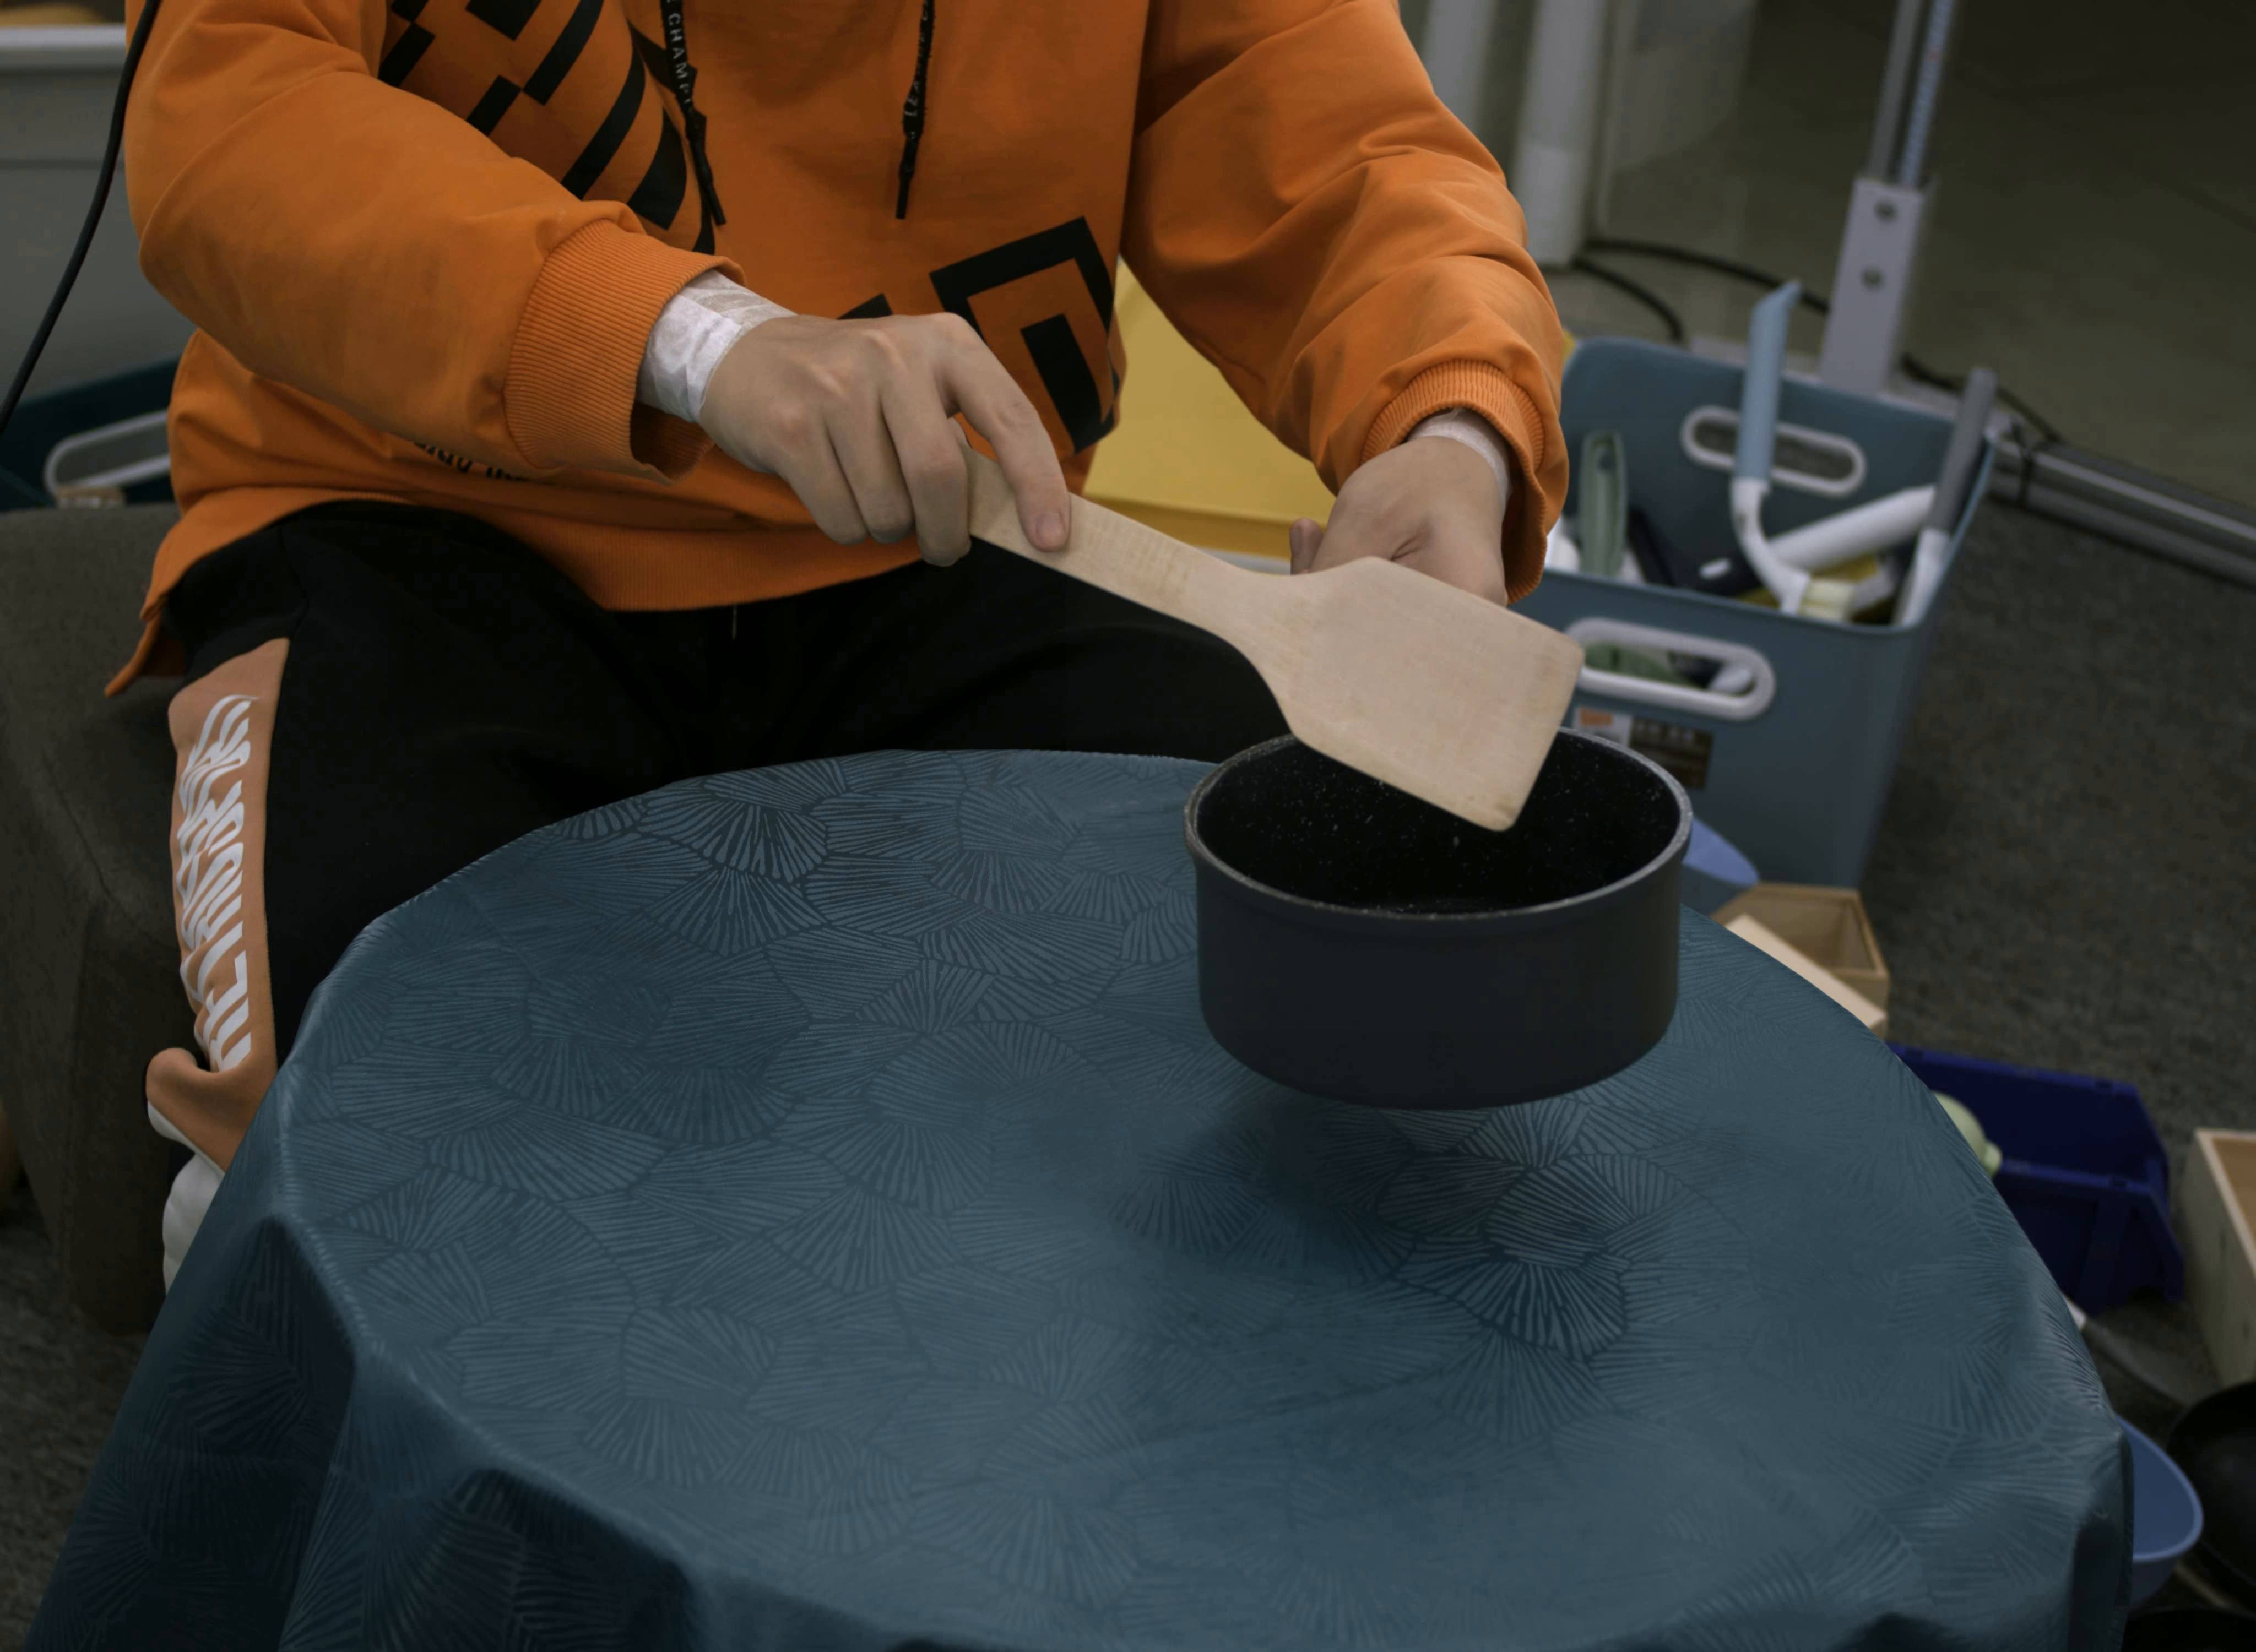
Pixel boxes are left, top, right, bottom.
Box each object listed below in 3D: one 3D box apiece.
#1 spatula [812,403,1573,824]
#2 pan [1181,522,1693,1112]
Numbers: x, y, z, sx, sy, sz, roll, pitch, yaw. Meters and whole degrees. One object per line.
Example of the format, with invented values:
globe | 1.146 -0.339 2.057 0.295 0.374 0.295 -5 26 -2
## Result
spatula | 0.013 -0.086 1.813 0.294 0.072 0.010 24 4 24
pan | 0.103 -0.007 1.869 0.171 0.086 0.330 -1 25 0
